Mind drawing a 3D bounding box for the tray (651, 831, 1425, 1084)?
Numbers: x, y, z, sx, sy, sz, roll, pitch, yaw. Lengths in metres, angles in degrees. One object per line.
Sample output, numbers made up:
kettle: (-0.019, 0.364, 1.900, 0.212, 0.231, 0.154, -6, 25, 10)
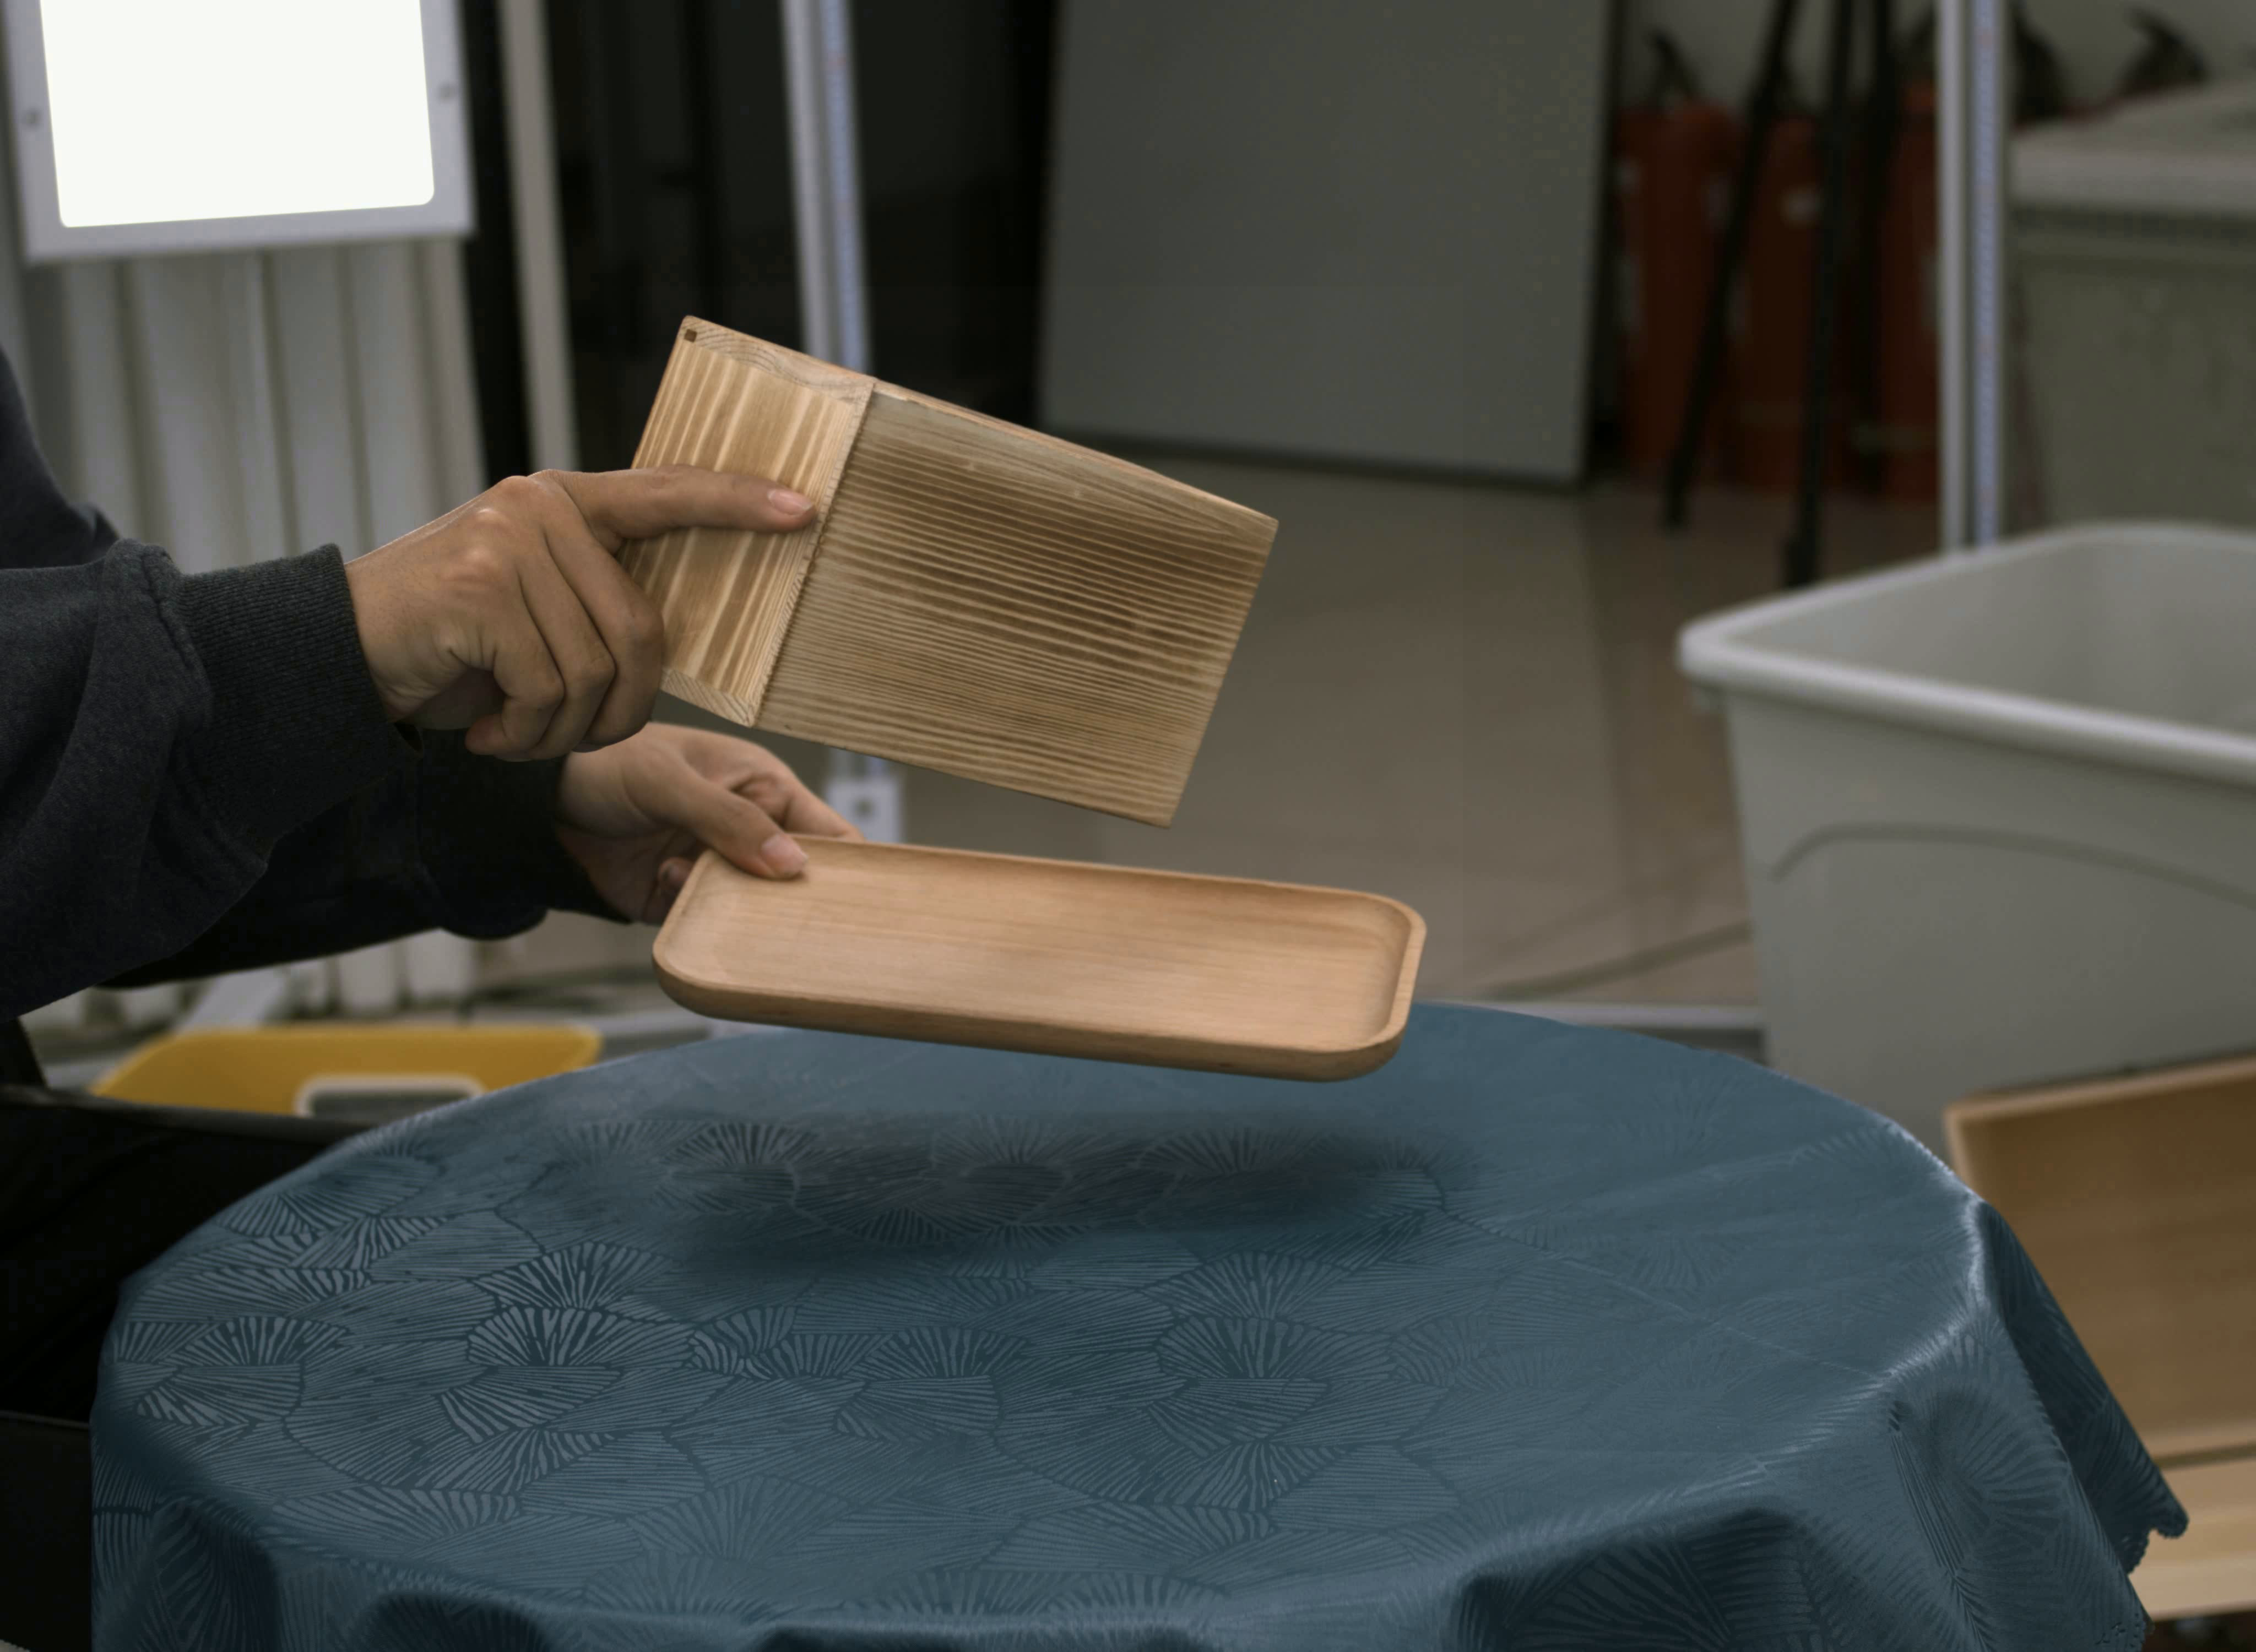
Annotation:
tray: (-0.028, 0.043, 1.782, 0.249, 0.023, 0.130, 5, 21, 9)

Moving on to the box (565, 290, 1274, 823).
box: (-0.059, -0.078, 1.639, 0.081, 0.108, 0.207, 22, 4, 37)
